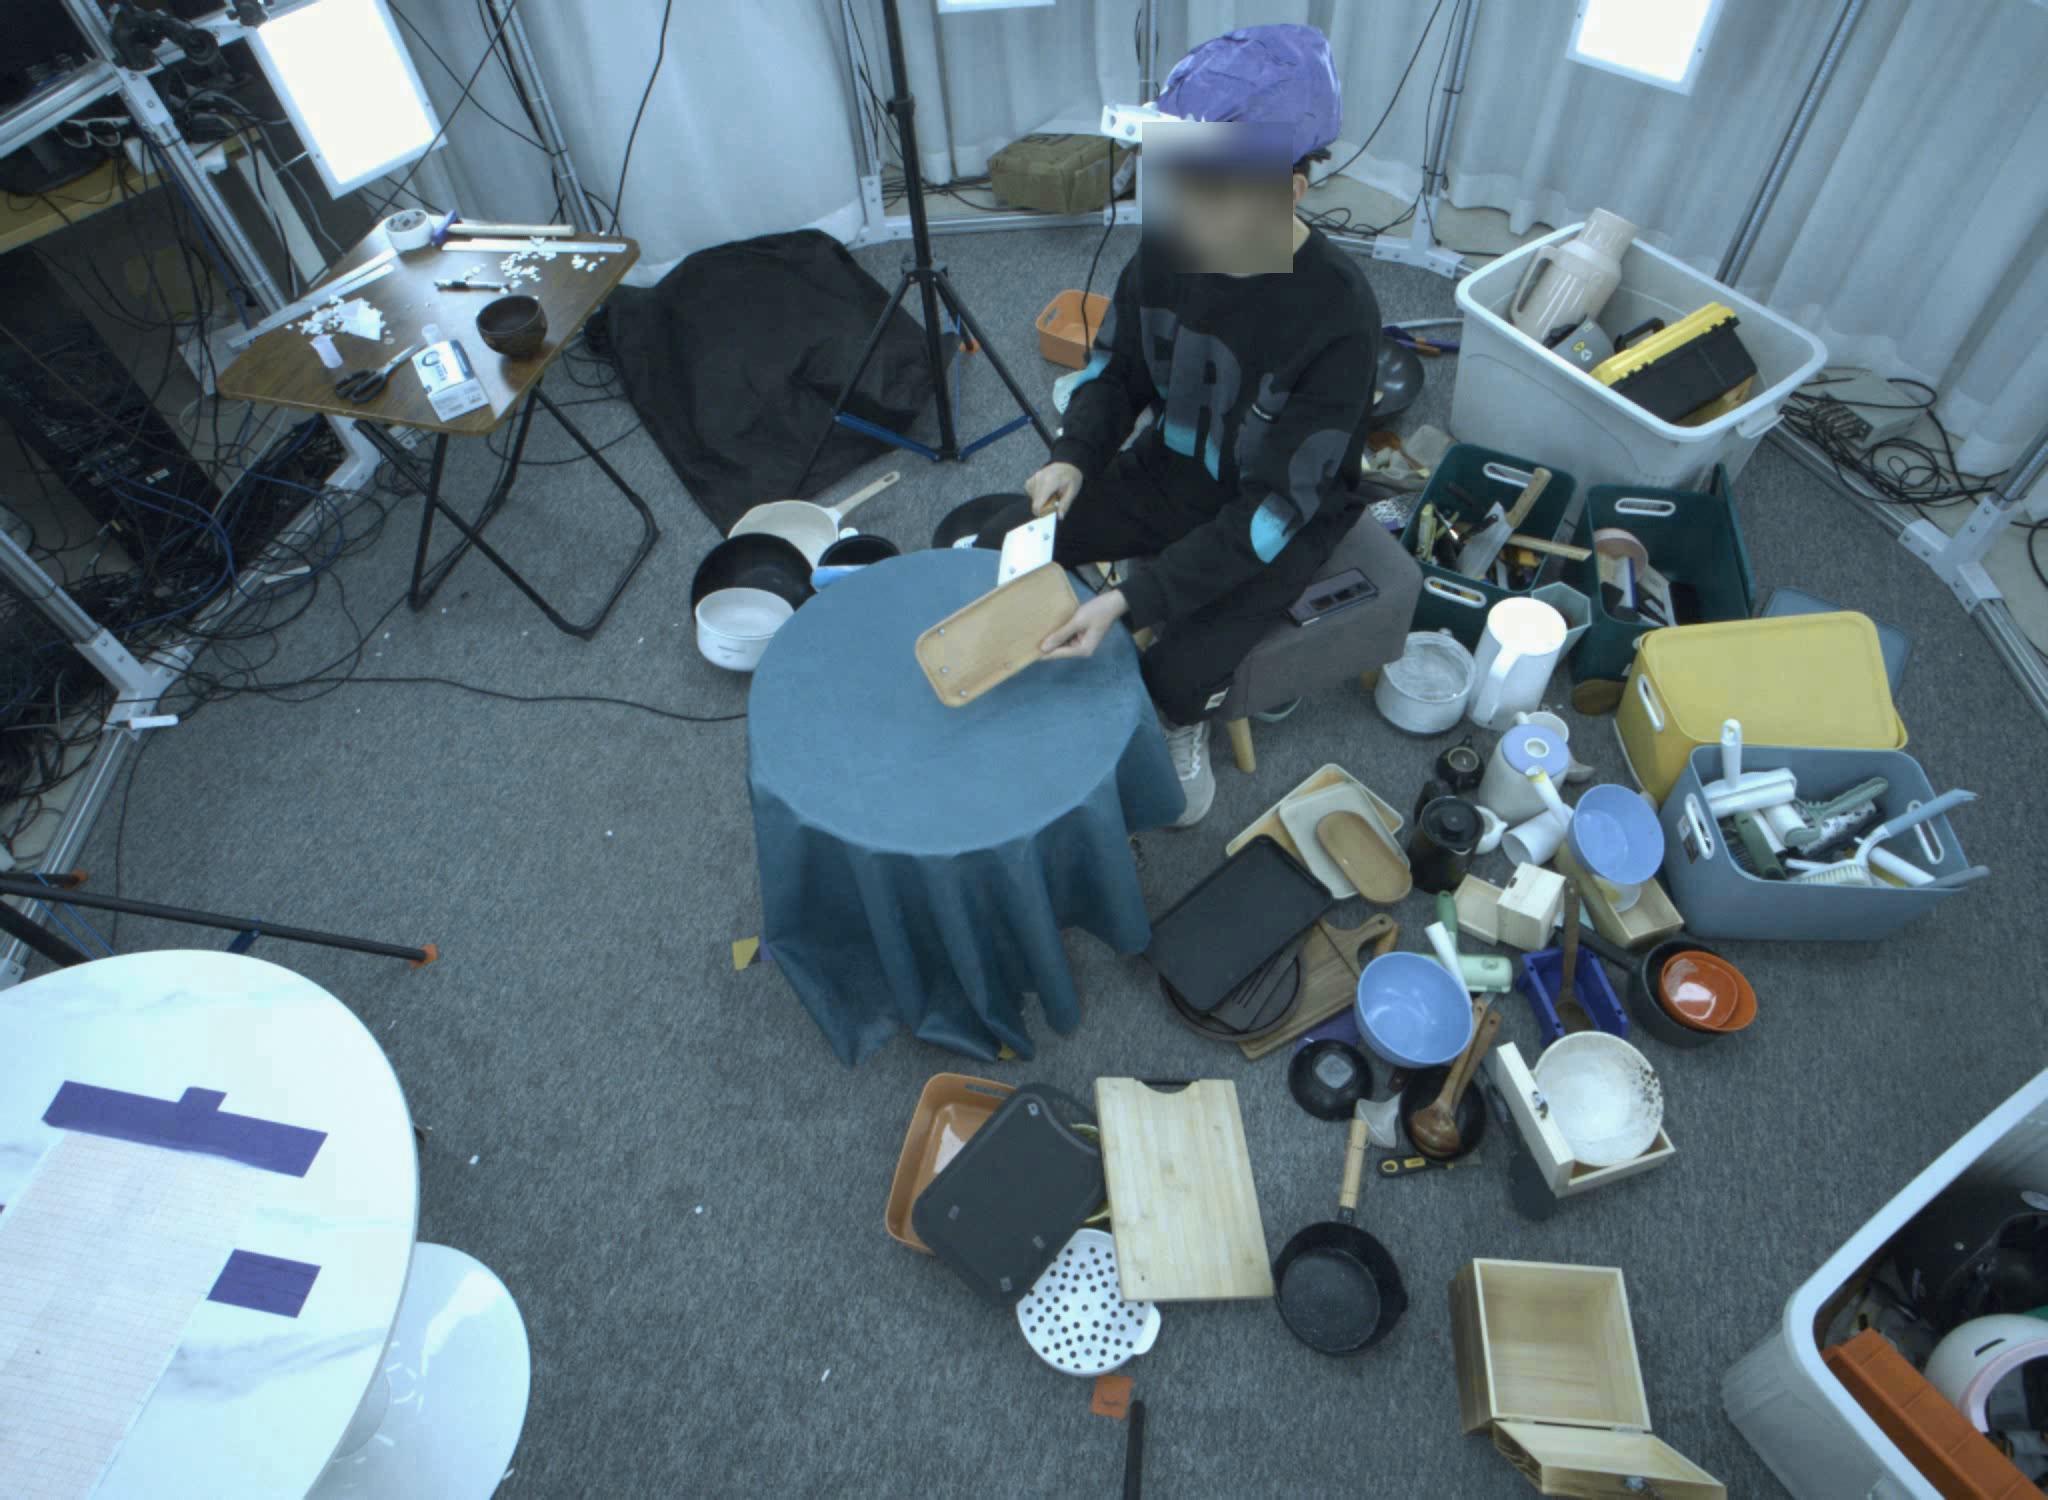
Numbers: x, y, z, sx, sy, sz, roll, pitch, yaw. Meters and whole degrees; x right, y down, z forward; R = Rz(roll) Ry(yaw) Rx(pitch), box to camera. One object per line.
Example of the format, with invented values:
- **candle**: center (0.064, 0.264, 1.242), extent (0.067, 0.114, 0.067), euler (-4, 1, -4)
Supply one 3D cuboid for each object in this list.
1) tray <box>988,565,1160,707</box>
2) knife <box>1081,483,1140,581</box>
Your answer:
- **tray**: center (0.073, -0.166, 1.775), extent (0.252, 0.132, 0.022), euler (-29, 30, -10)
- **knife**: center (0.130, -0.331, 1.863), extent (0.092, 0.021, 0.304), euler (-20, 28, 21)
